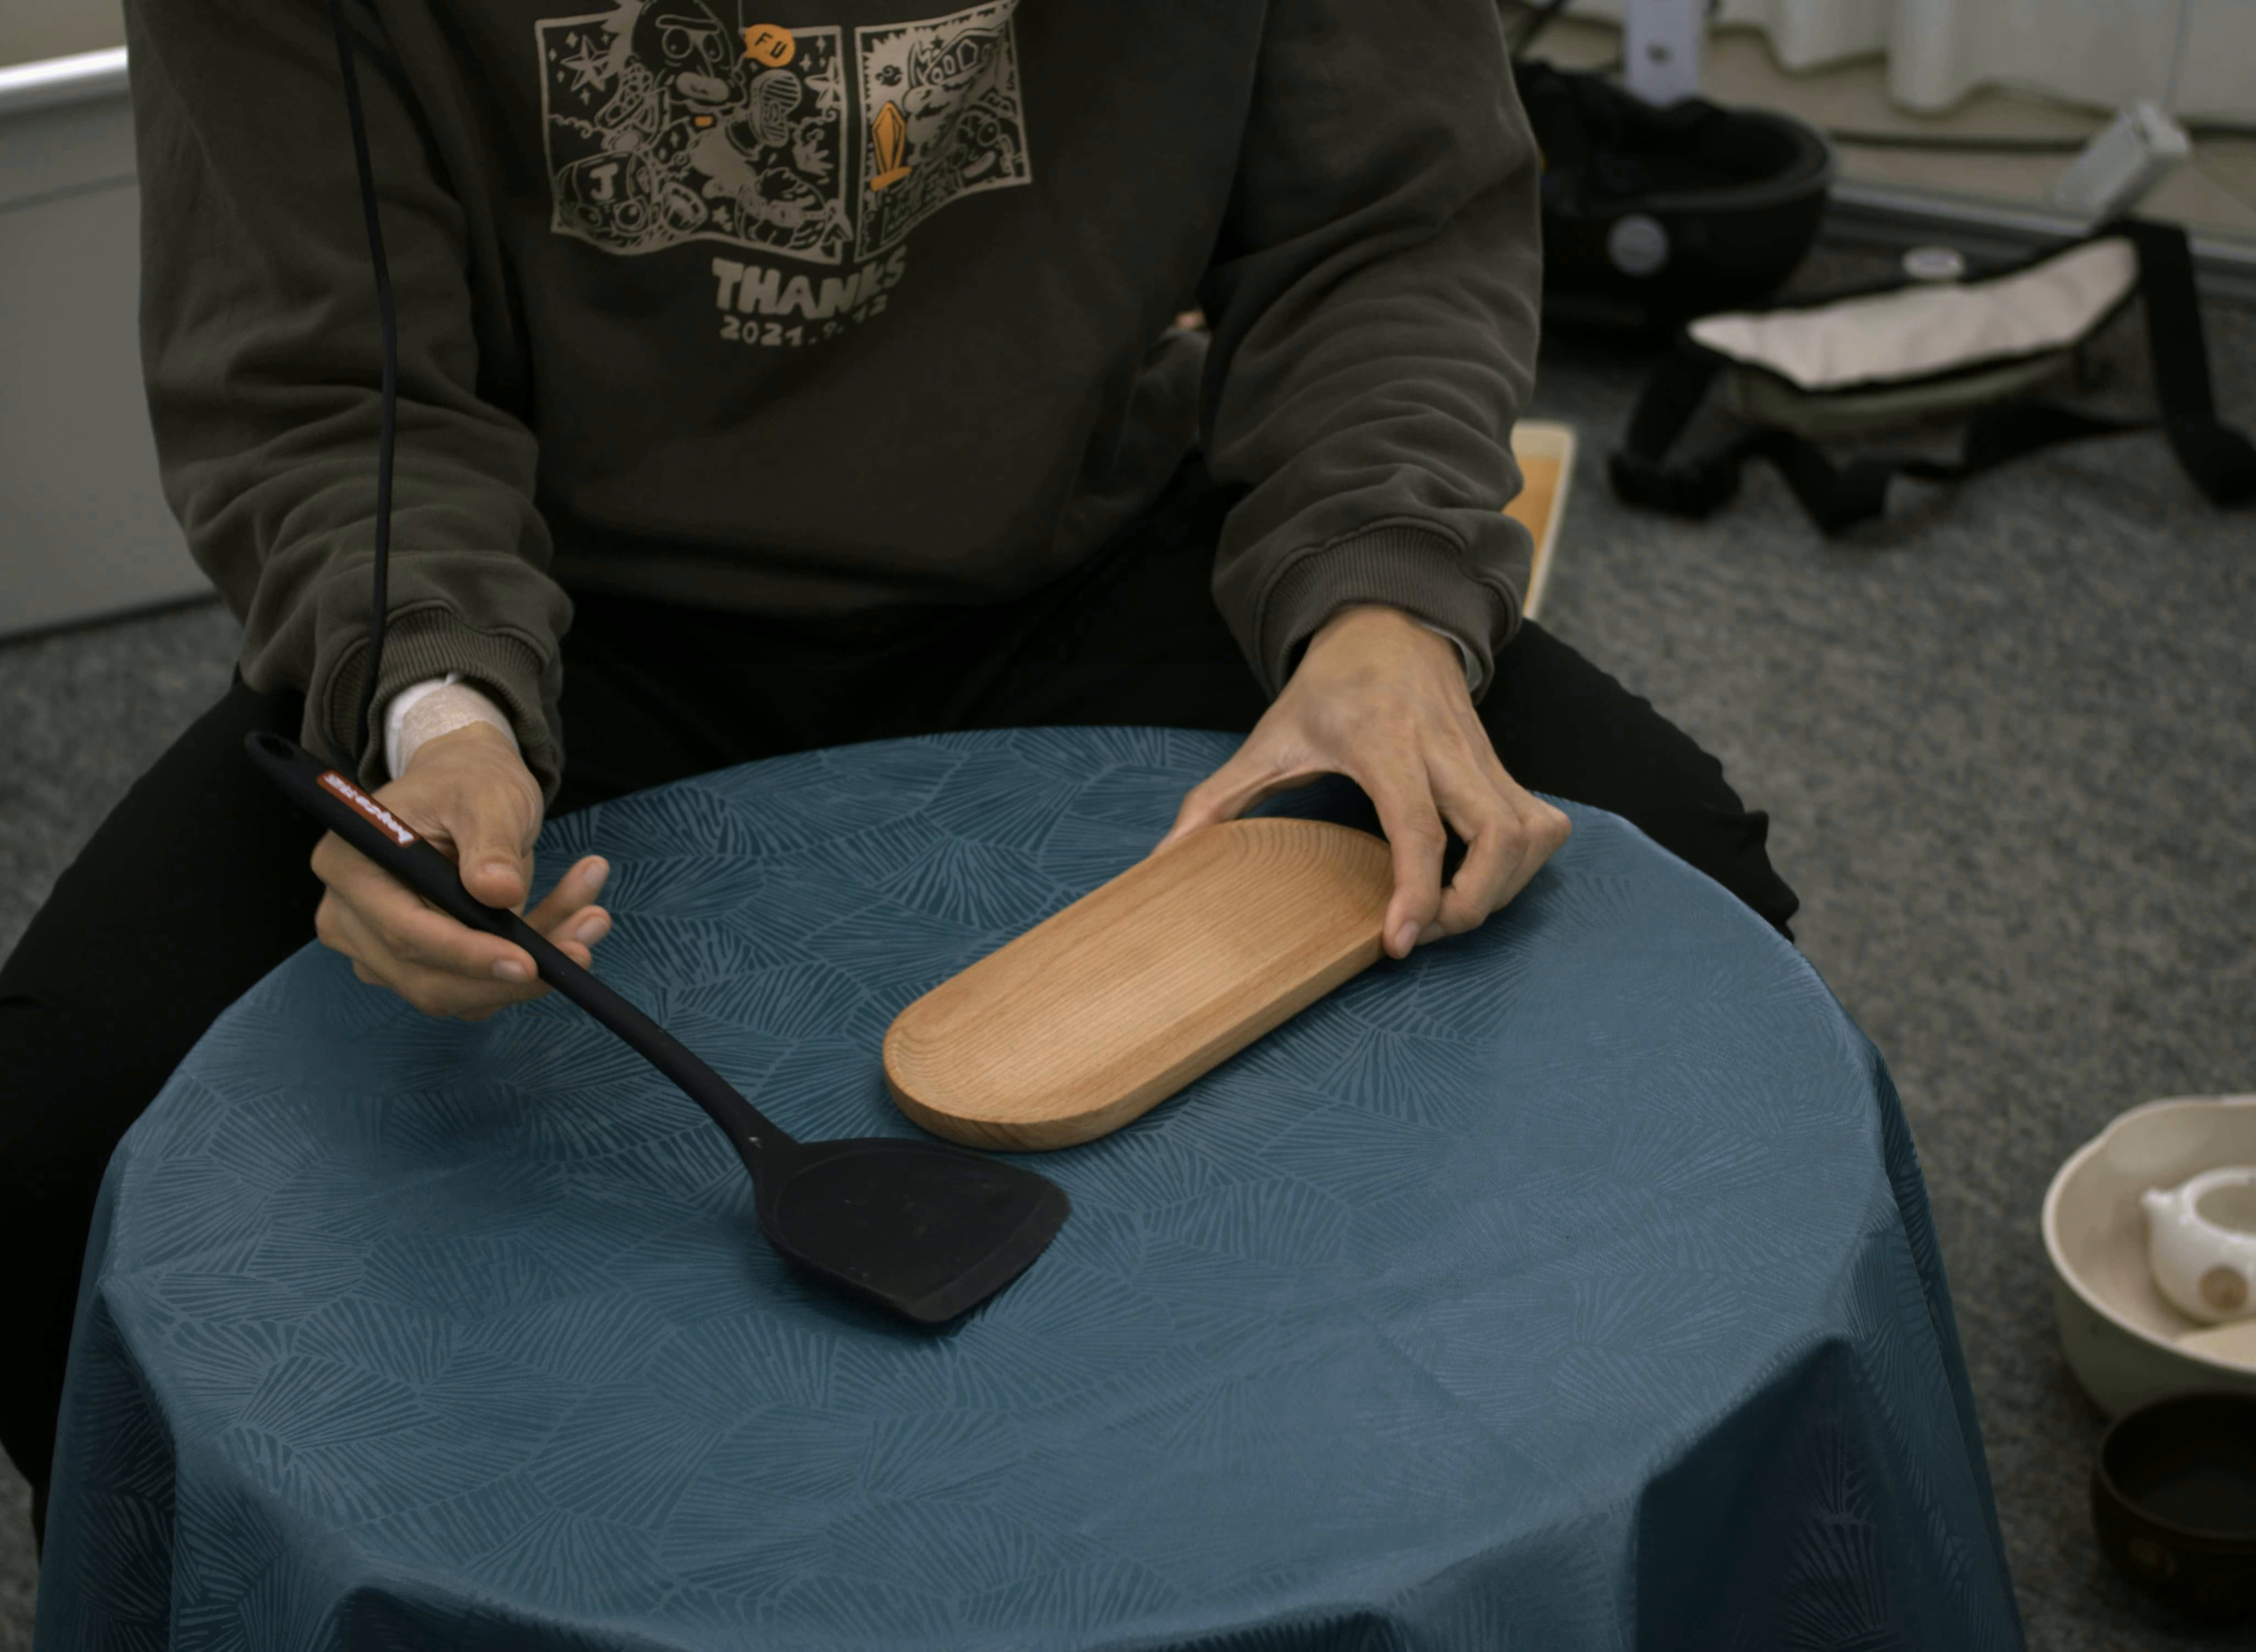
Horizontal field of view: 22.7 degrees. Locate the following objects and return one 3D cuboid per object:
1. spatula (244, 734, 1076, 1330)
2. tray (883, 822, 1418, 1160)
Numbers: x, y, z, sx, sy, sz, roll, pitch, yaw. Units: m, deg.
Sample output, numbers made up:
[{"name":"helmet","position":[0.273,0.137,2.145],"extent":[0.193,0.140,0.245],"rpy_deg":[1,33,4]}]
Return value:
[{"name":"spatula","position":[-0.166,0.060,1.860],"extent":[0.326,0.040,0.101],"rpy_deg":[38,36,12]},{"name":"tray","position":[0.010,0.056,1.964],"extent":[0.101,0.020,0.234],"rpy_deg":[20,38,36]}]
